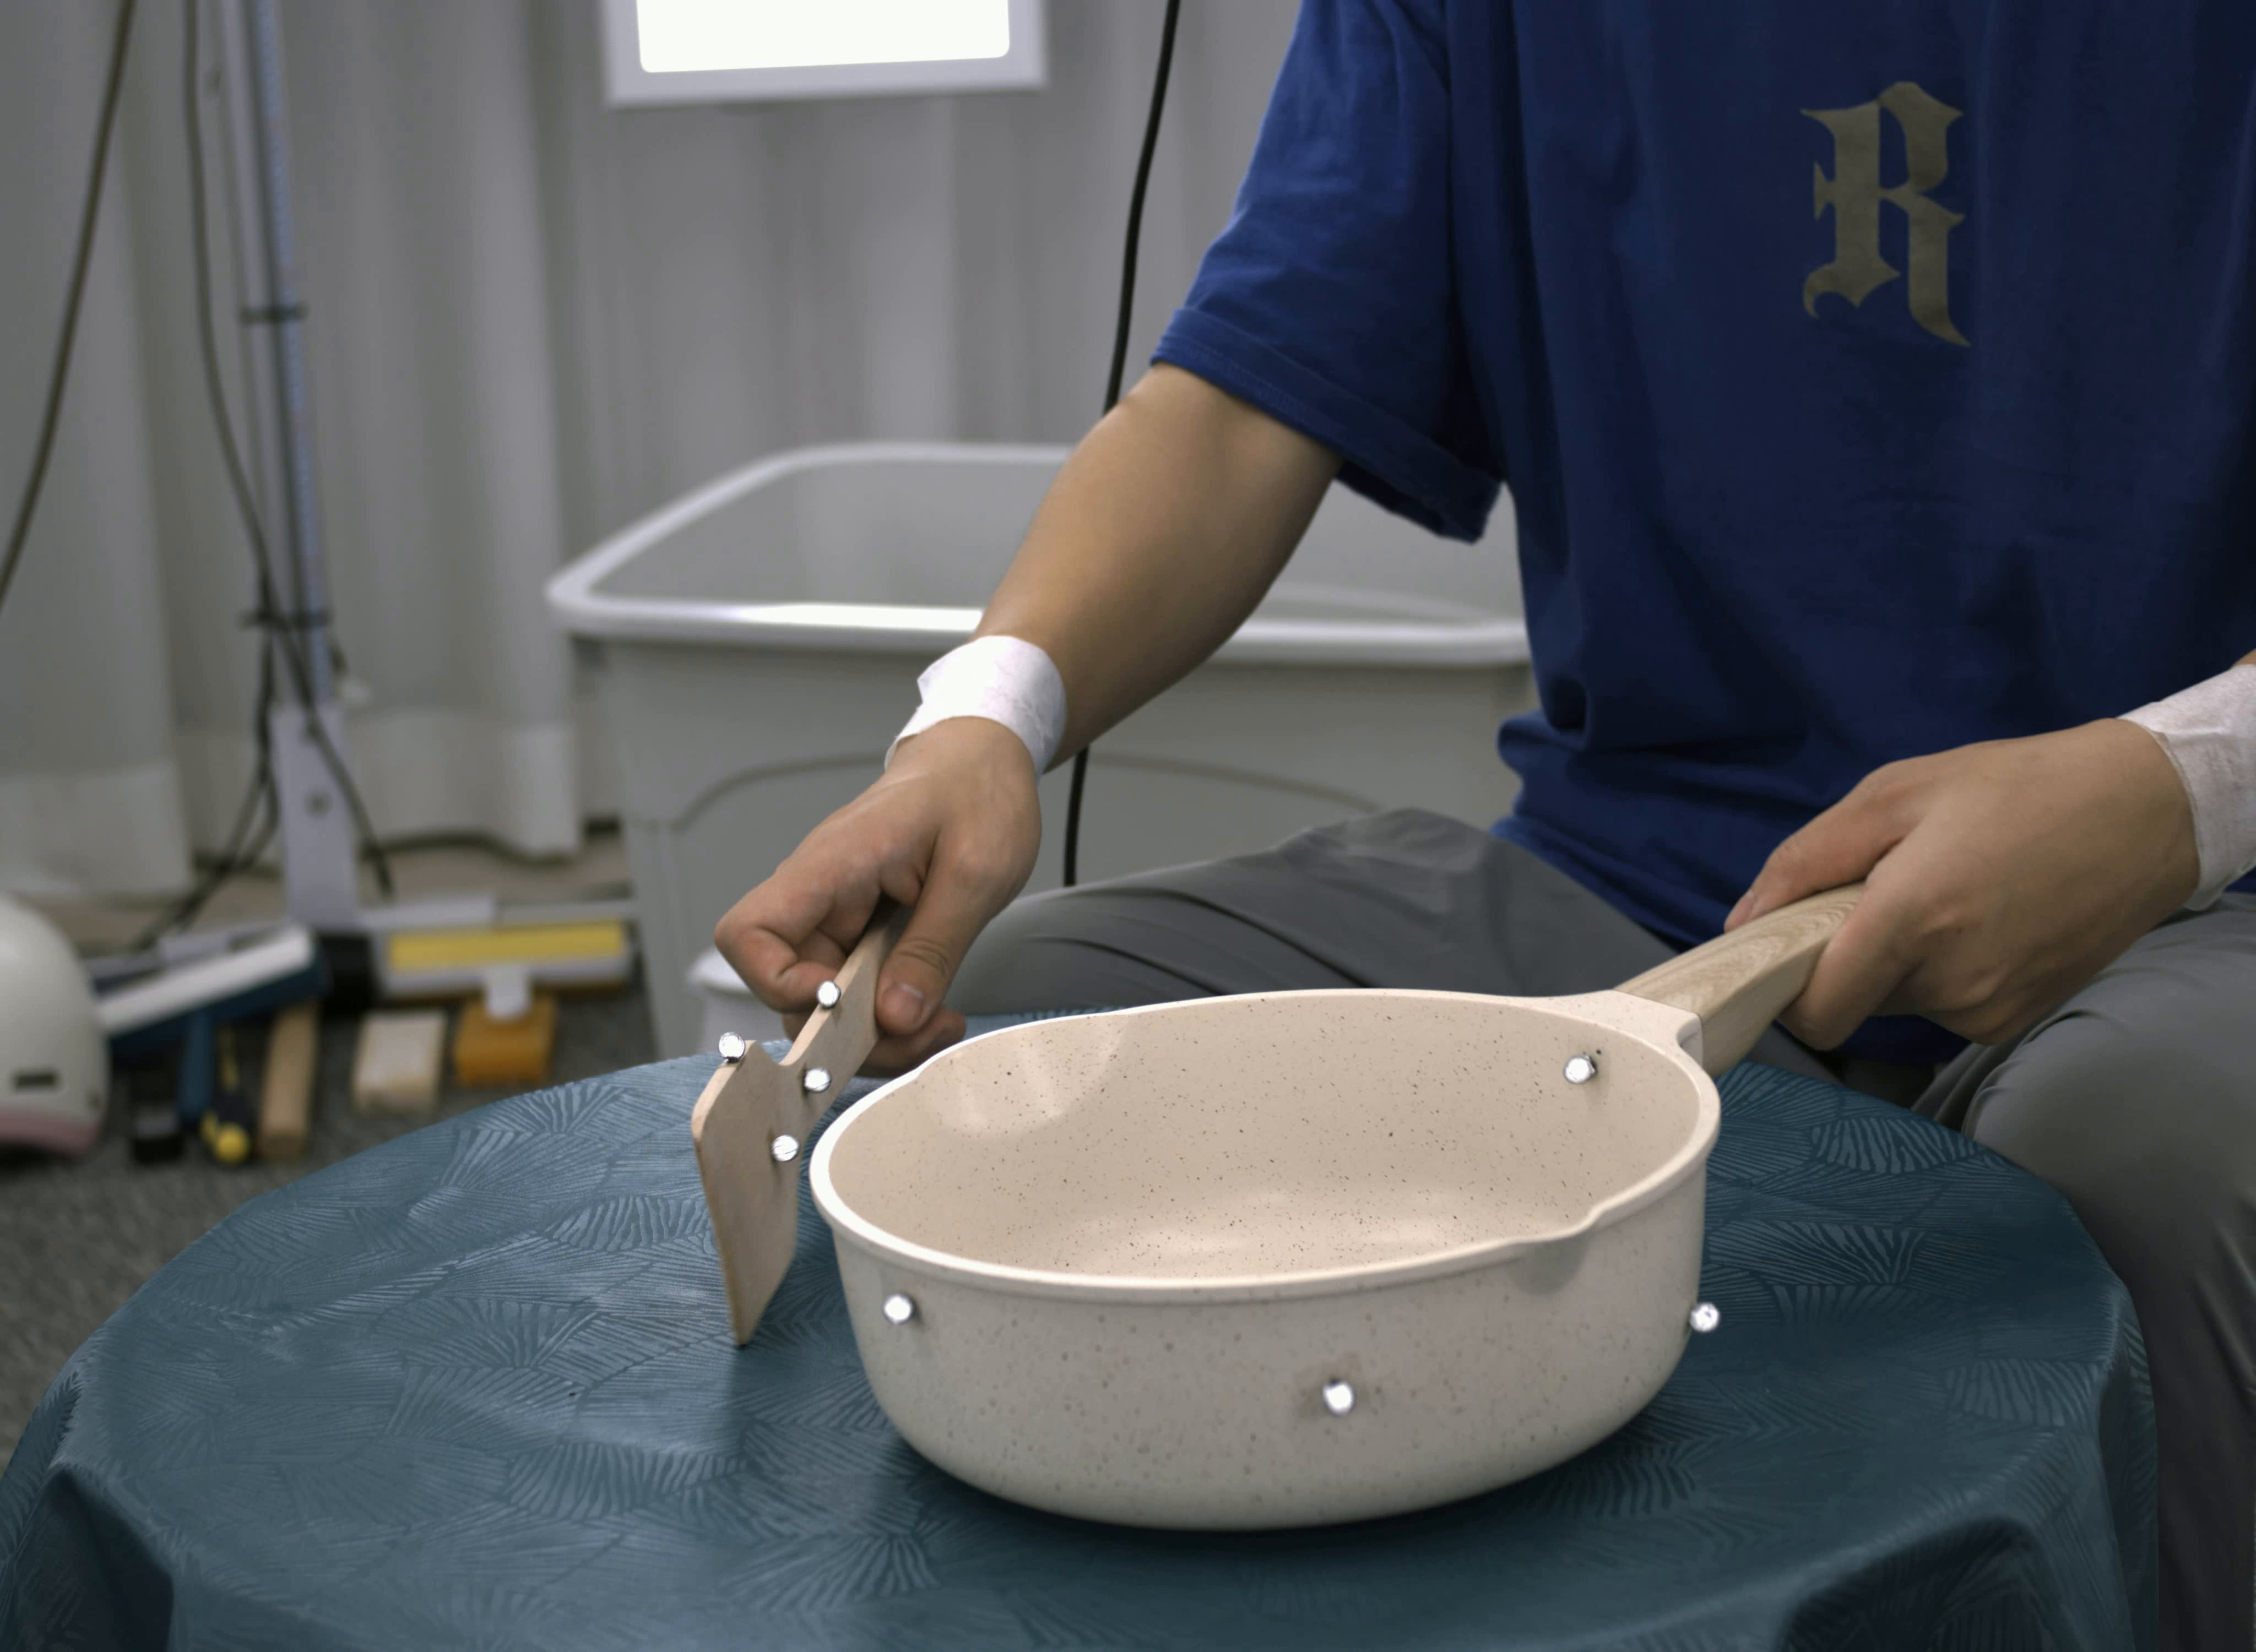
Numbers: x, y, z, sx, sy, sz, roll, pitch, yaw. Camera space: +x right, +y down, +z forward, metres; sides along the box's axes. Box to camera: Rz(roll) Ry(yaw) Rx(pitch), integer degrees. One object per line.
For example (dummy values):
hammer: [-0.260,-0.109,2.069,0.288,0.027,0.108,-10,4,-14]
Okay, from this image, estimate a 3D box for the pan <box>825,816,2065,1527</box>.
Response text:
pan: [0.116,0.093,1.555,0.434,0.101,0.265,-15,17,-35]

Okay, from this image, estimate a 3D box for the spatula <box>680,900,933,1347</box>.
spatula: [-0.098,0.077,1.721,0.010,0.072,0.295,-6,16,13]
